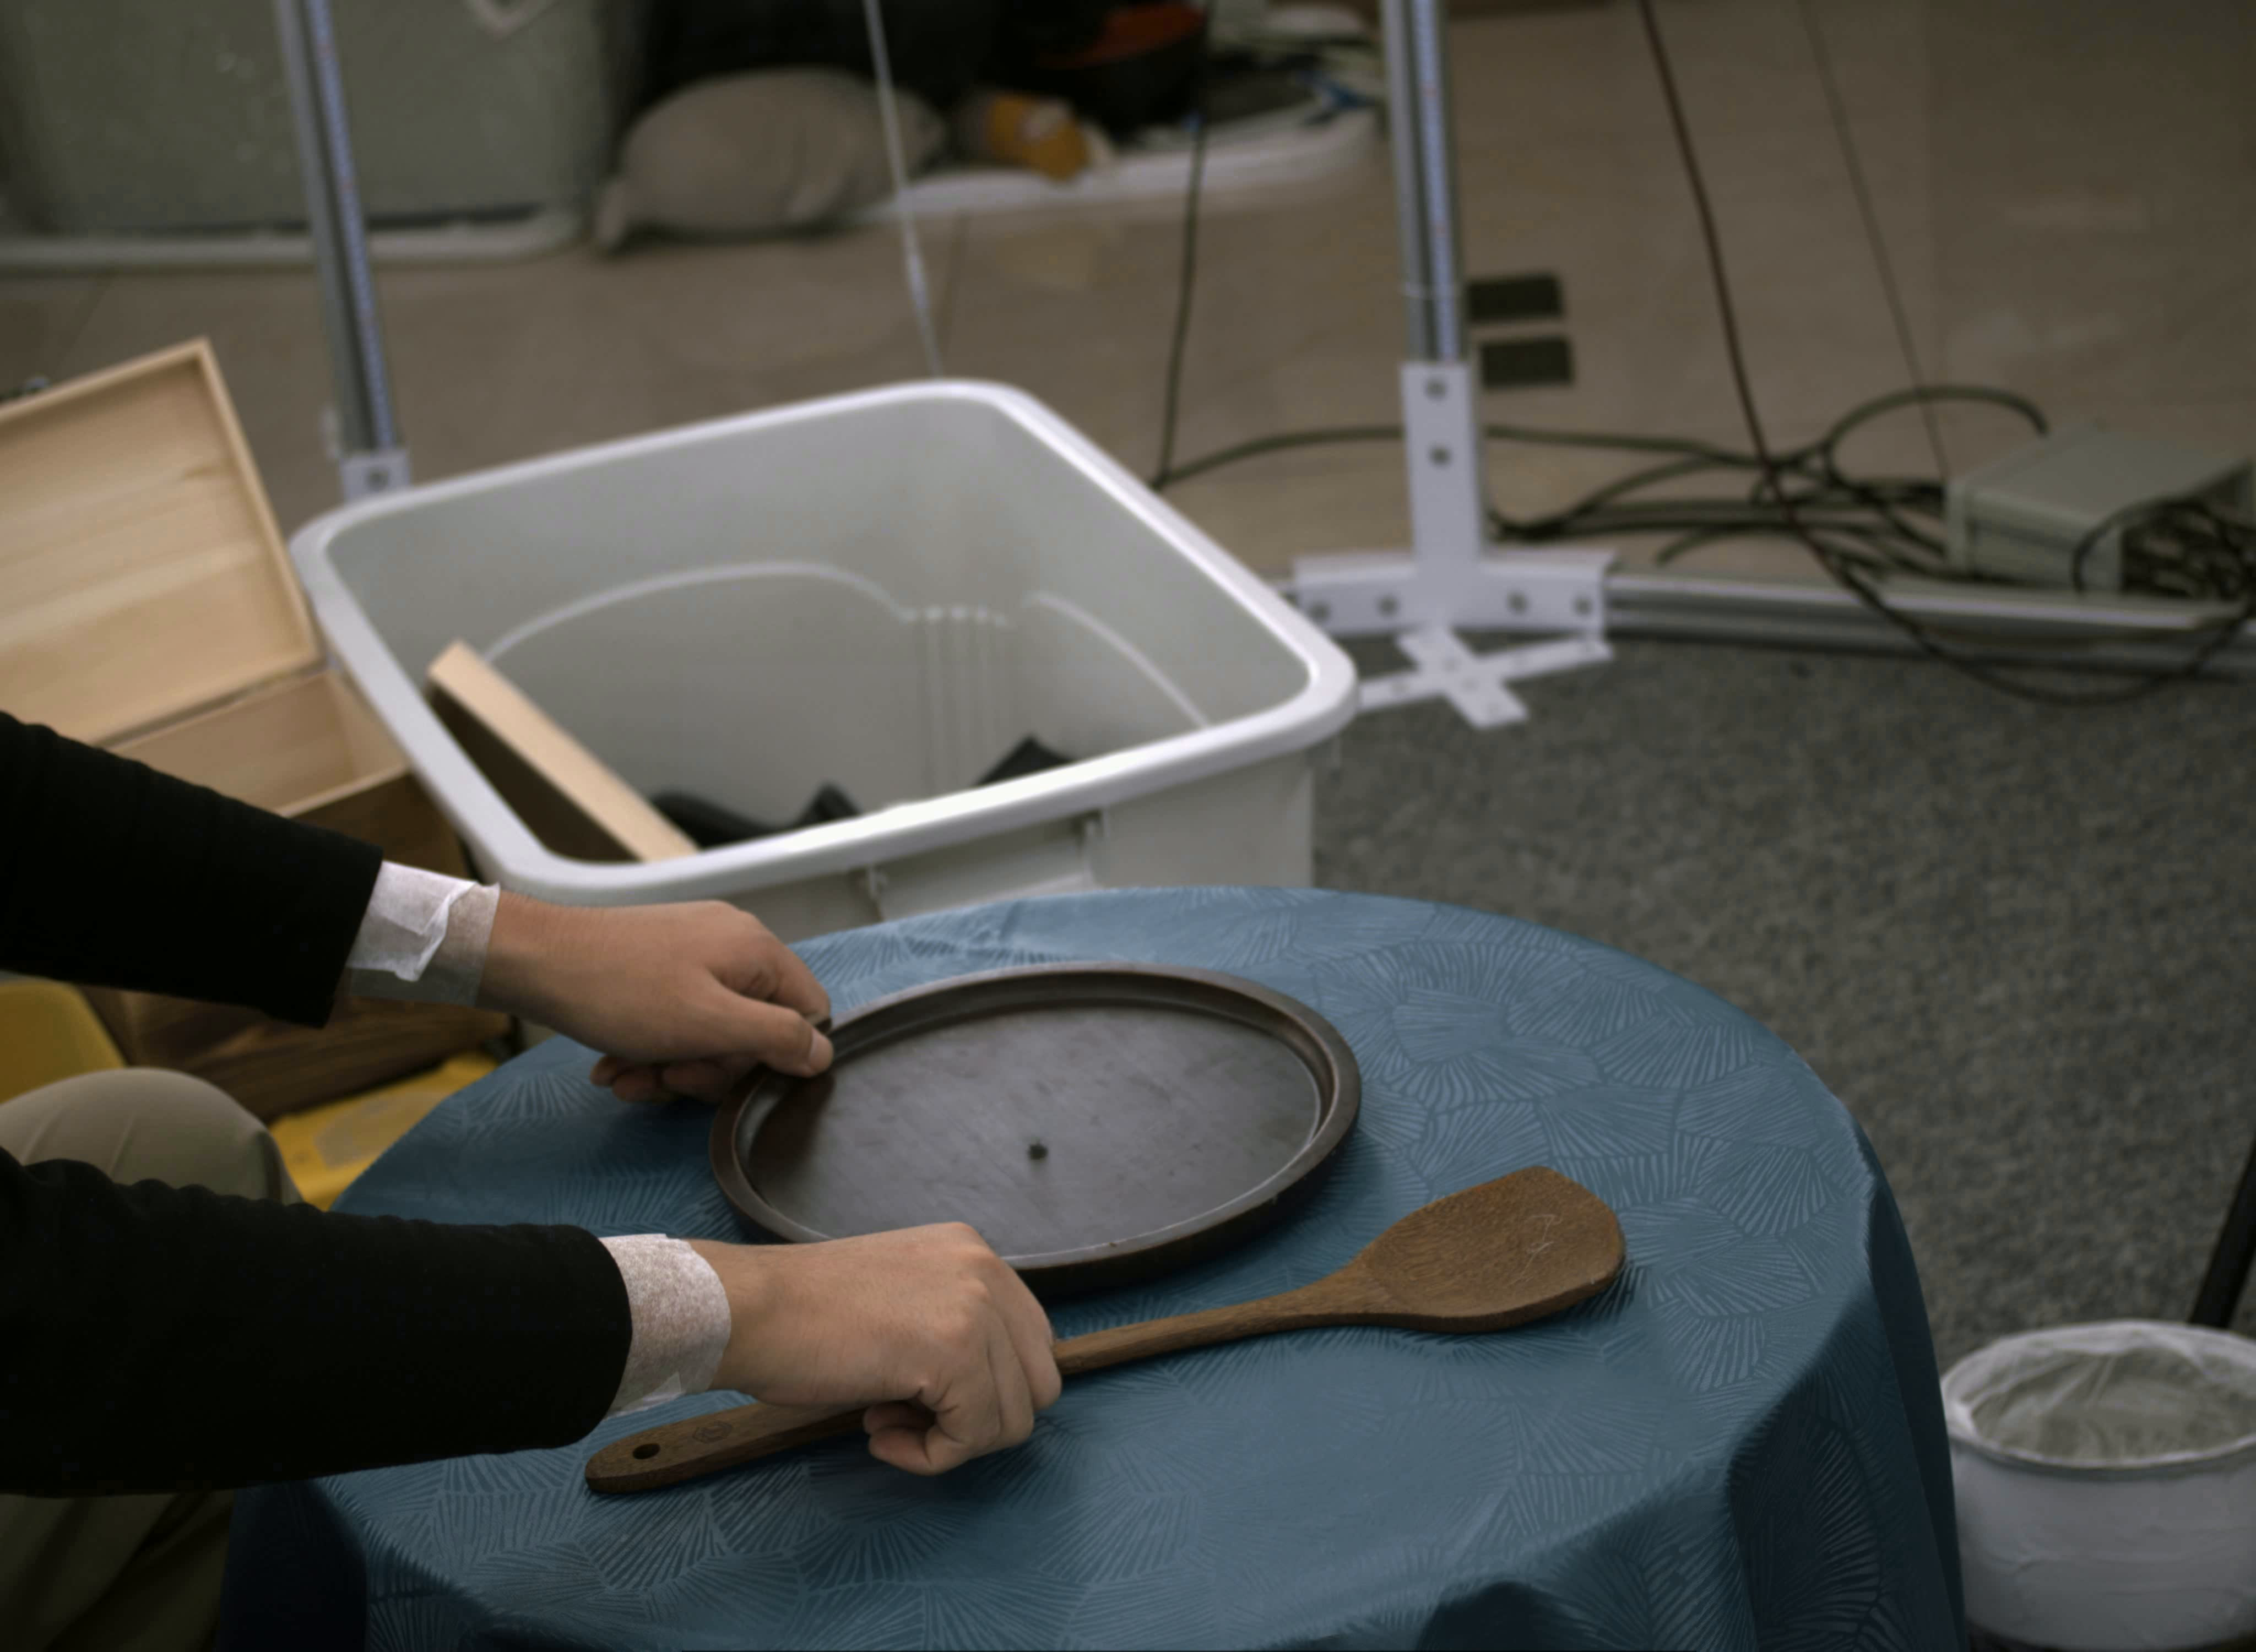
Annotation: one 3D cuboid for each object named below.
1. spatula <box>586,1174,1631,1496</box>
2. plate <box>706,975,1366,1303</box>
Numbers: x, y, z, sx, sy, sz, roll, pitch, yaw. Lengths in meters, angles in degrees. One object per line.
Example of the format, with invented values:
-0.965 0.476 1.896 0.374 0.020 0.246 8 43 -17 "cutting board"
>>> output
-0.007 0.187 2.030 0.385 0.016 0.095 -12 25 -12 "spatula"
-0.035 0.118 2.175 0.254 0.029 0.251 -4 24 2 "plate"
